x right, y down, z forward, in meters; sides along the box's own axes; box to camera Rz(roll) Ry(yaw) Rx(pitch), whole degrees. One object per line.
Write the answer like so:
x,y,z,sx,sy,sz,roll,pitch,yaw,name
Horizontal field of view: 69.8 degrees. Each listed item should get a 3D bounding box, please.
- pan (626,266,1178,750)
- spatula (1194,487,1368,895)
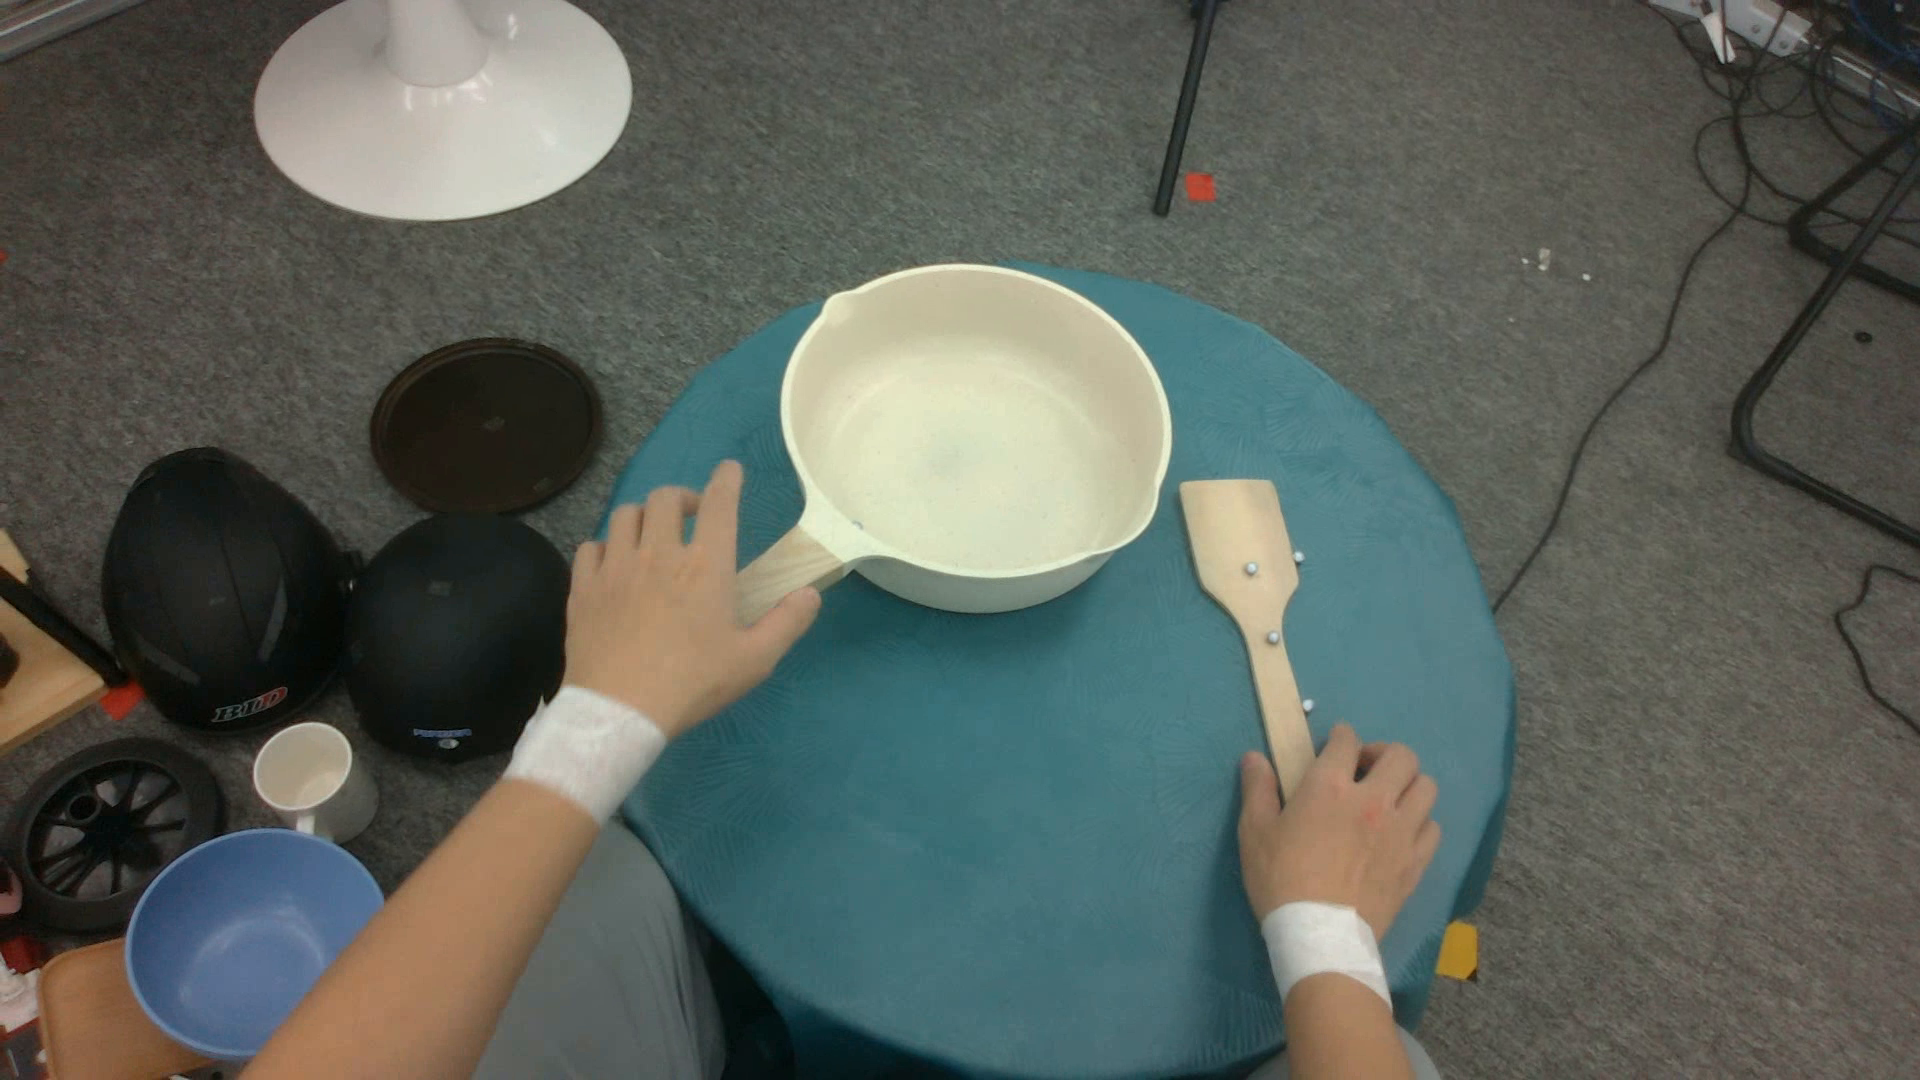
-0.043,-0.009,0.876,0.263,0.101,0.437,37,61,16,pan
0.214,0.087,0.890,0.072,0.010,0.294,-2,57,-8,spatula
